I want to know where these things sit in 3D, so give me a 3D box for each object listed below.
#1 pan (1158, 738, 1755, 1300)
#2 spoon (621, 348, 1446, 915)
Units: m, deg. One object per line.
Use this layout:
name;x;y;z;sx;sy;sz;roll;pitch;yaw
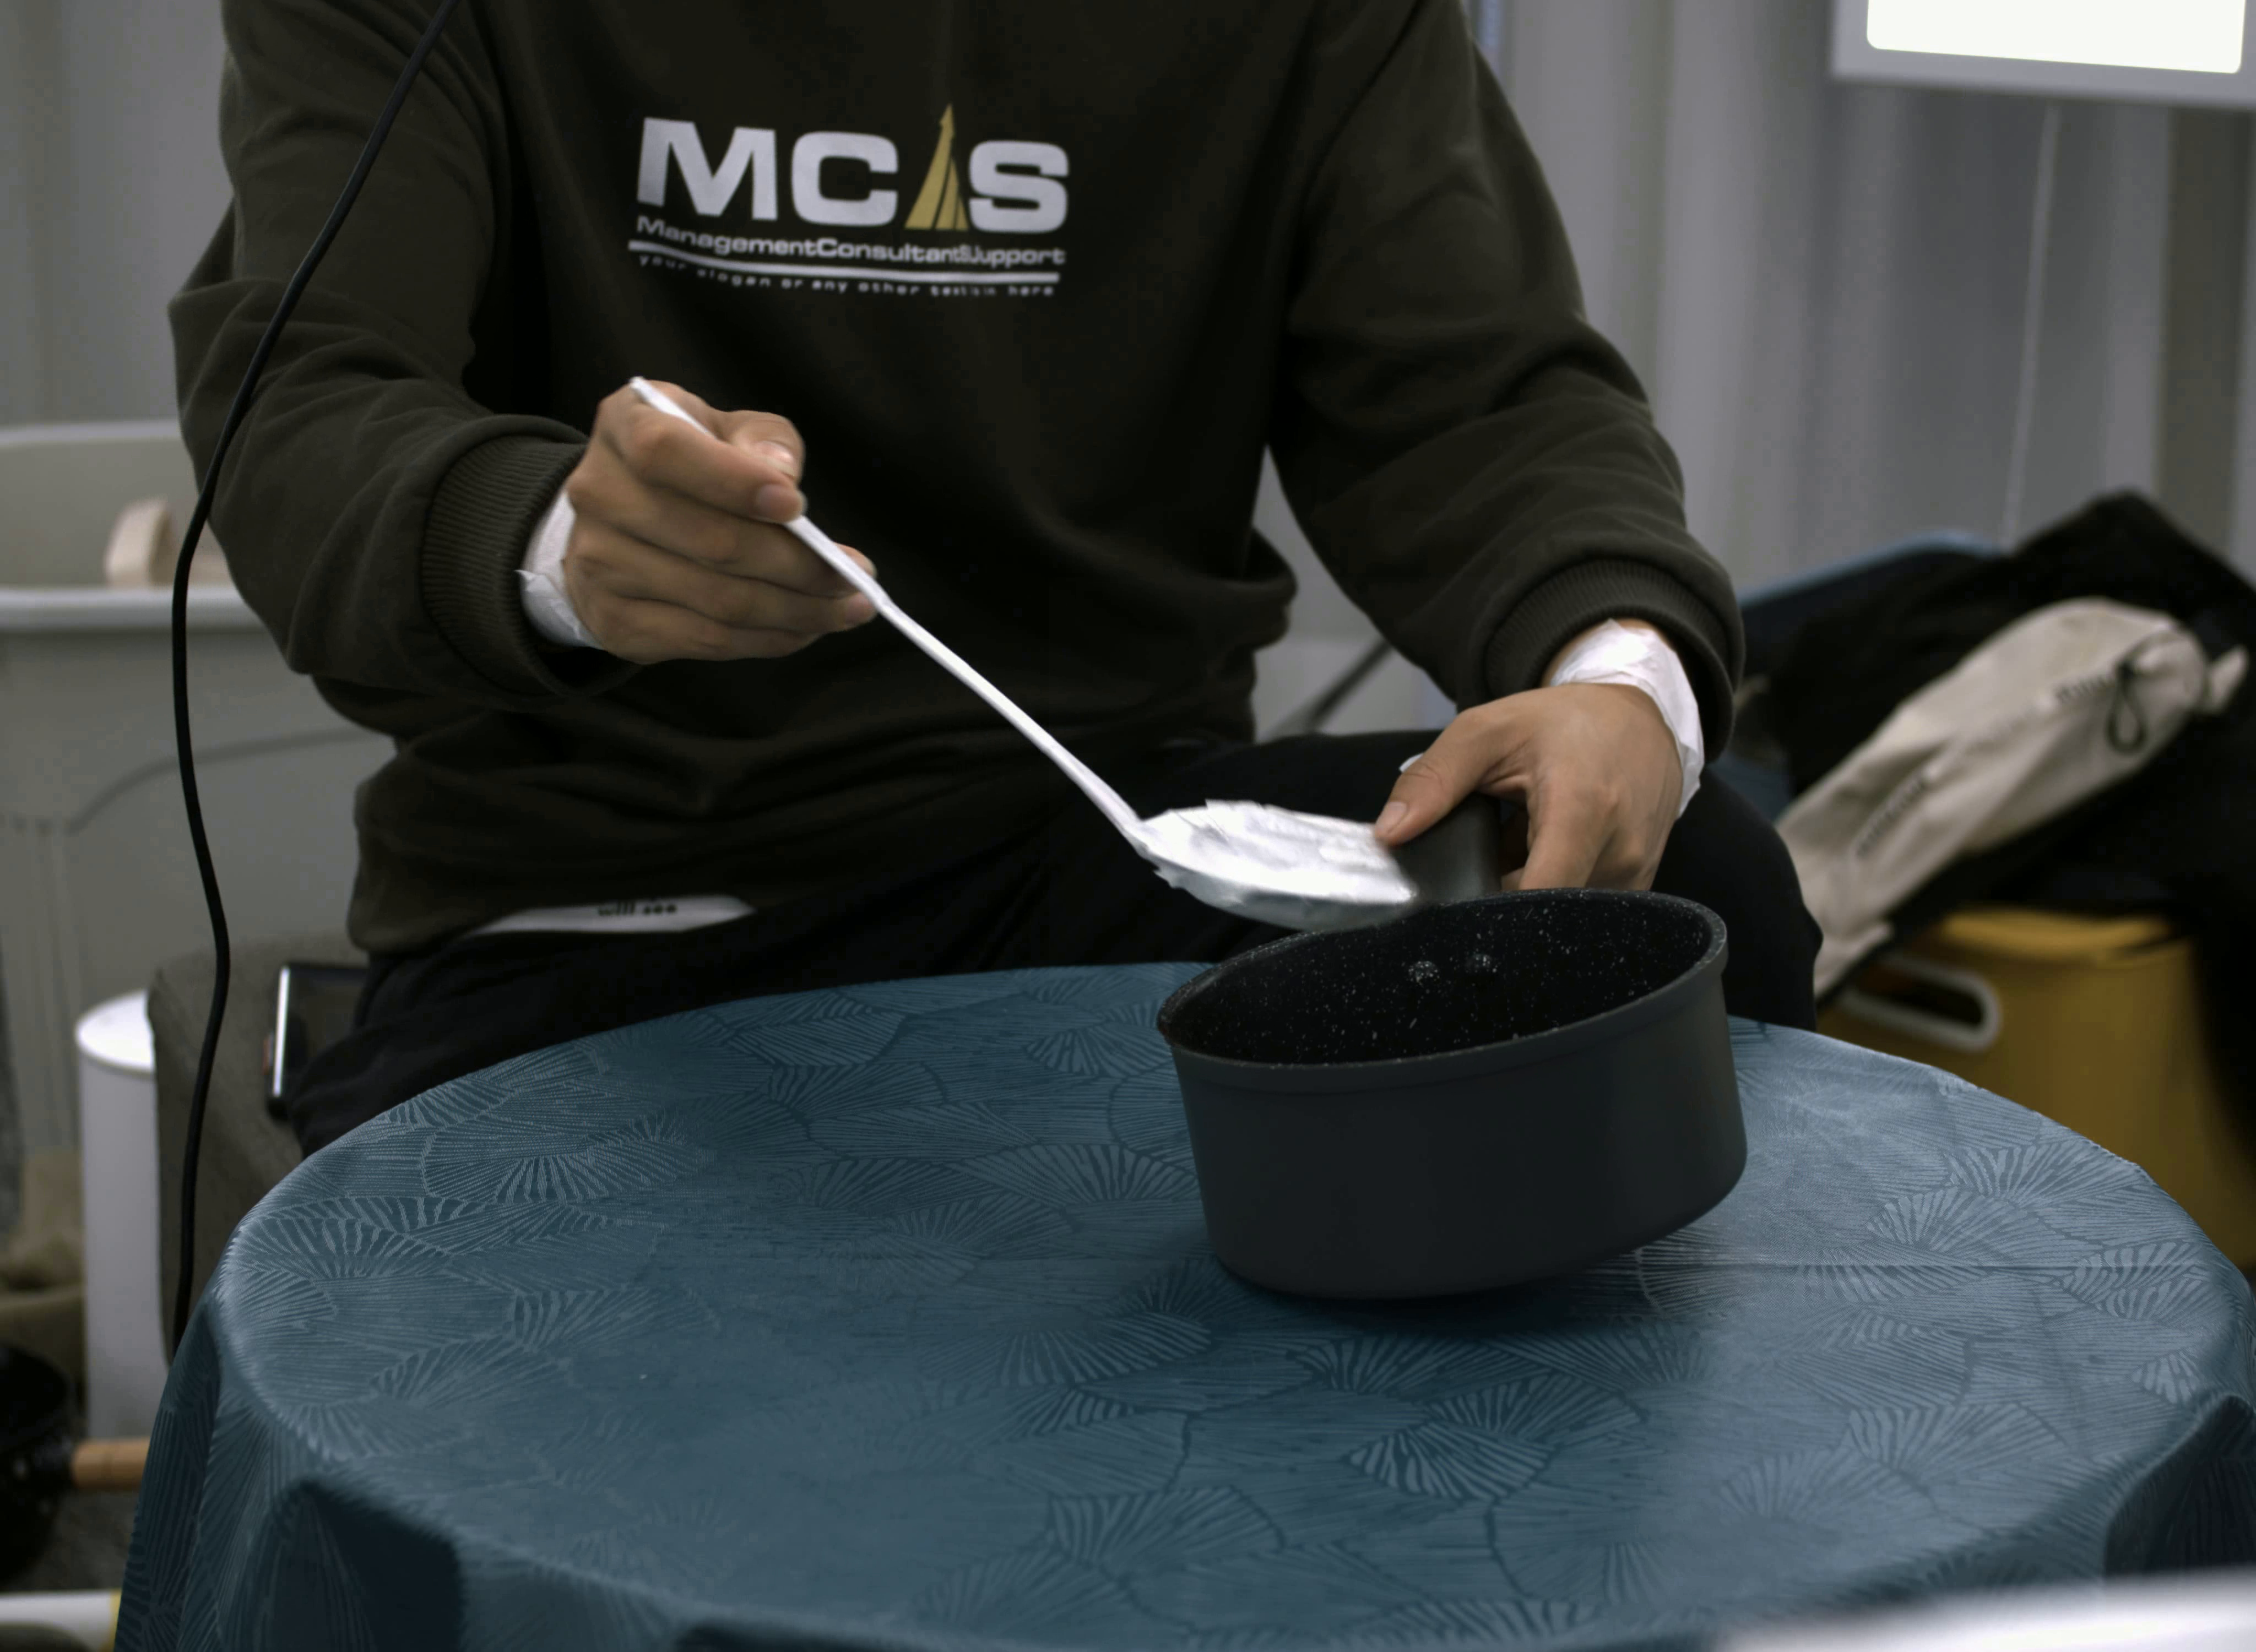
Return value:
pan;0.108;0.055;1.636;0.171;0.087;0.327;-7;15;9
spoon;-0.027;-0.063;1.536;0.278;0.059;0.100;43;12;-6
